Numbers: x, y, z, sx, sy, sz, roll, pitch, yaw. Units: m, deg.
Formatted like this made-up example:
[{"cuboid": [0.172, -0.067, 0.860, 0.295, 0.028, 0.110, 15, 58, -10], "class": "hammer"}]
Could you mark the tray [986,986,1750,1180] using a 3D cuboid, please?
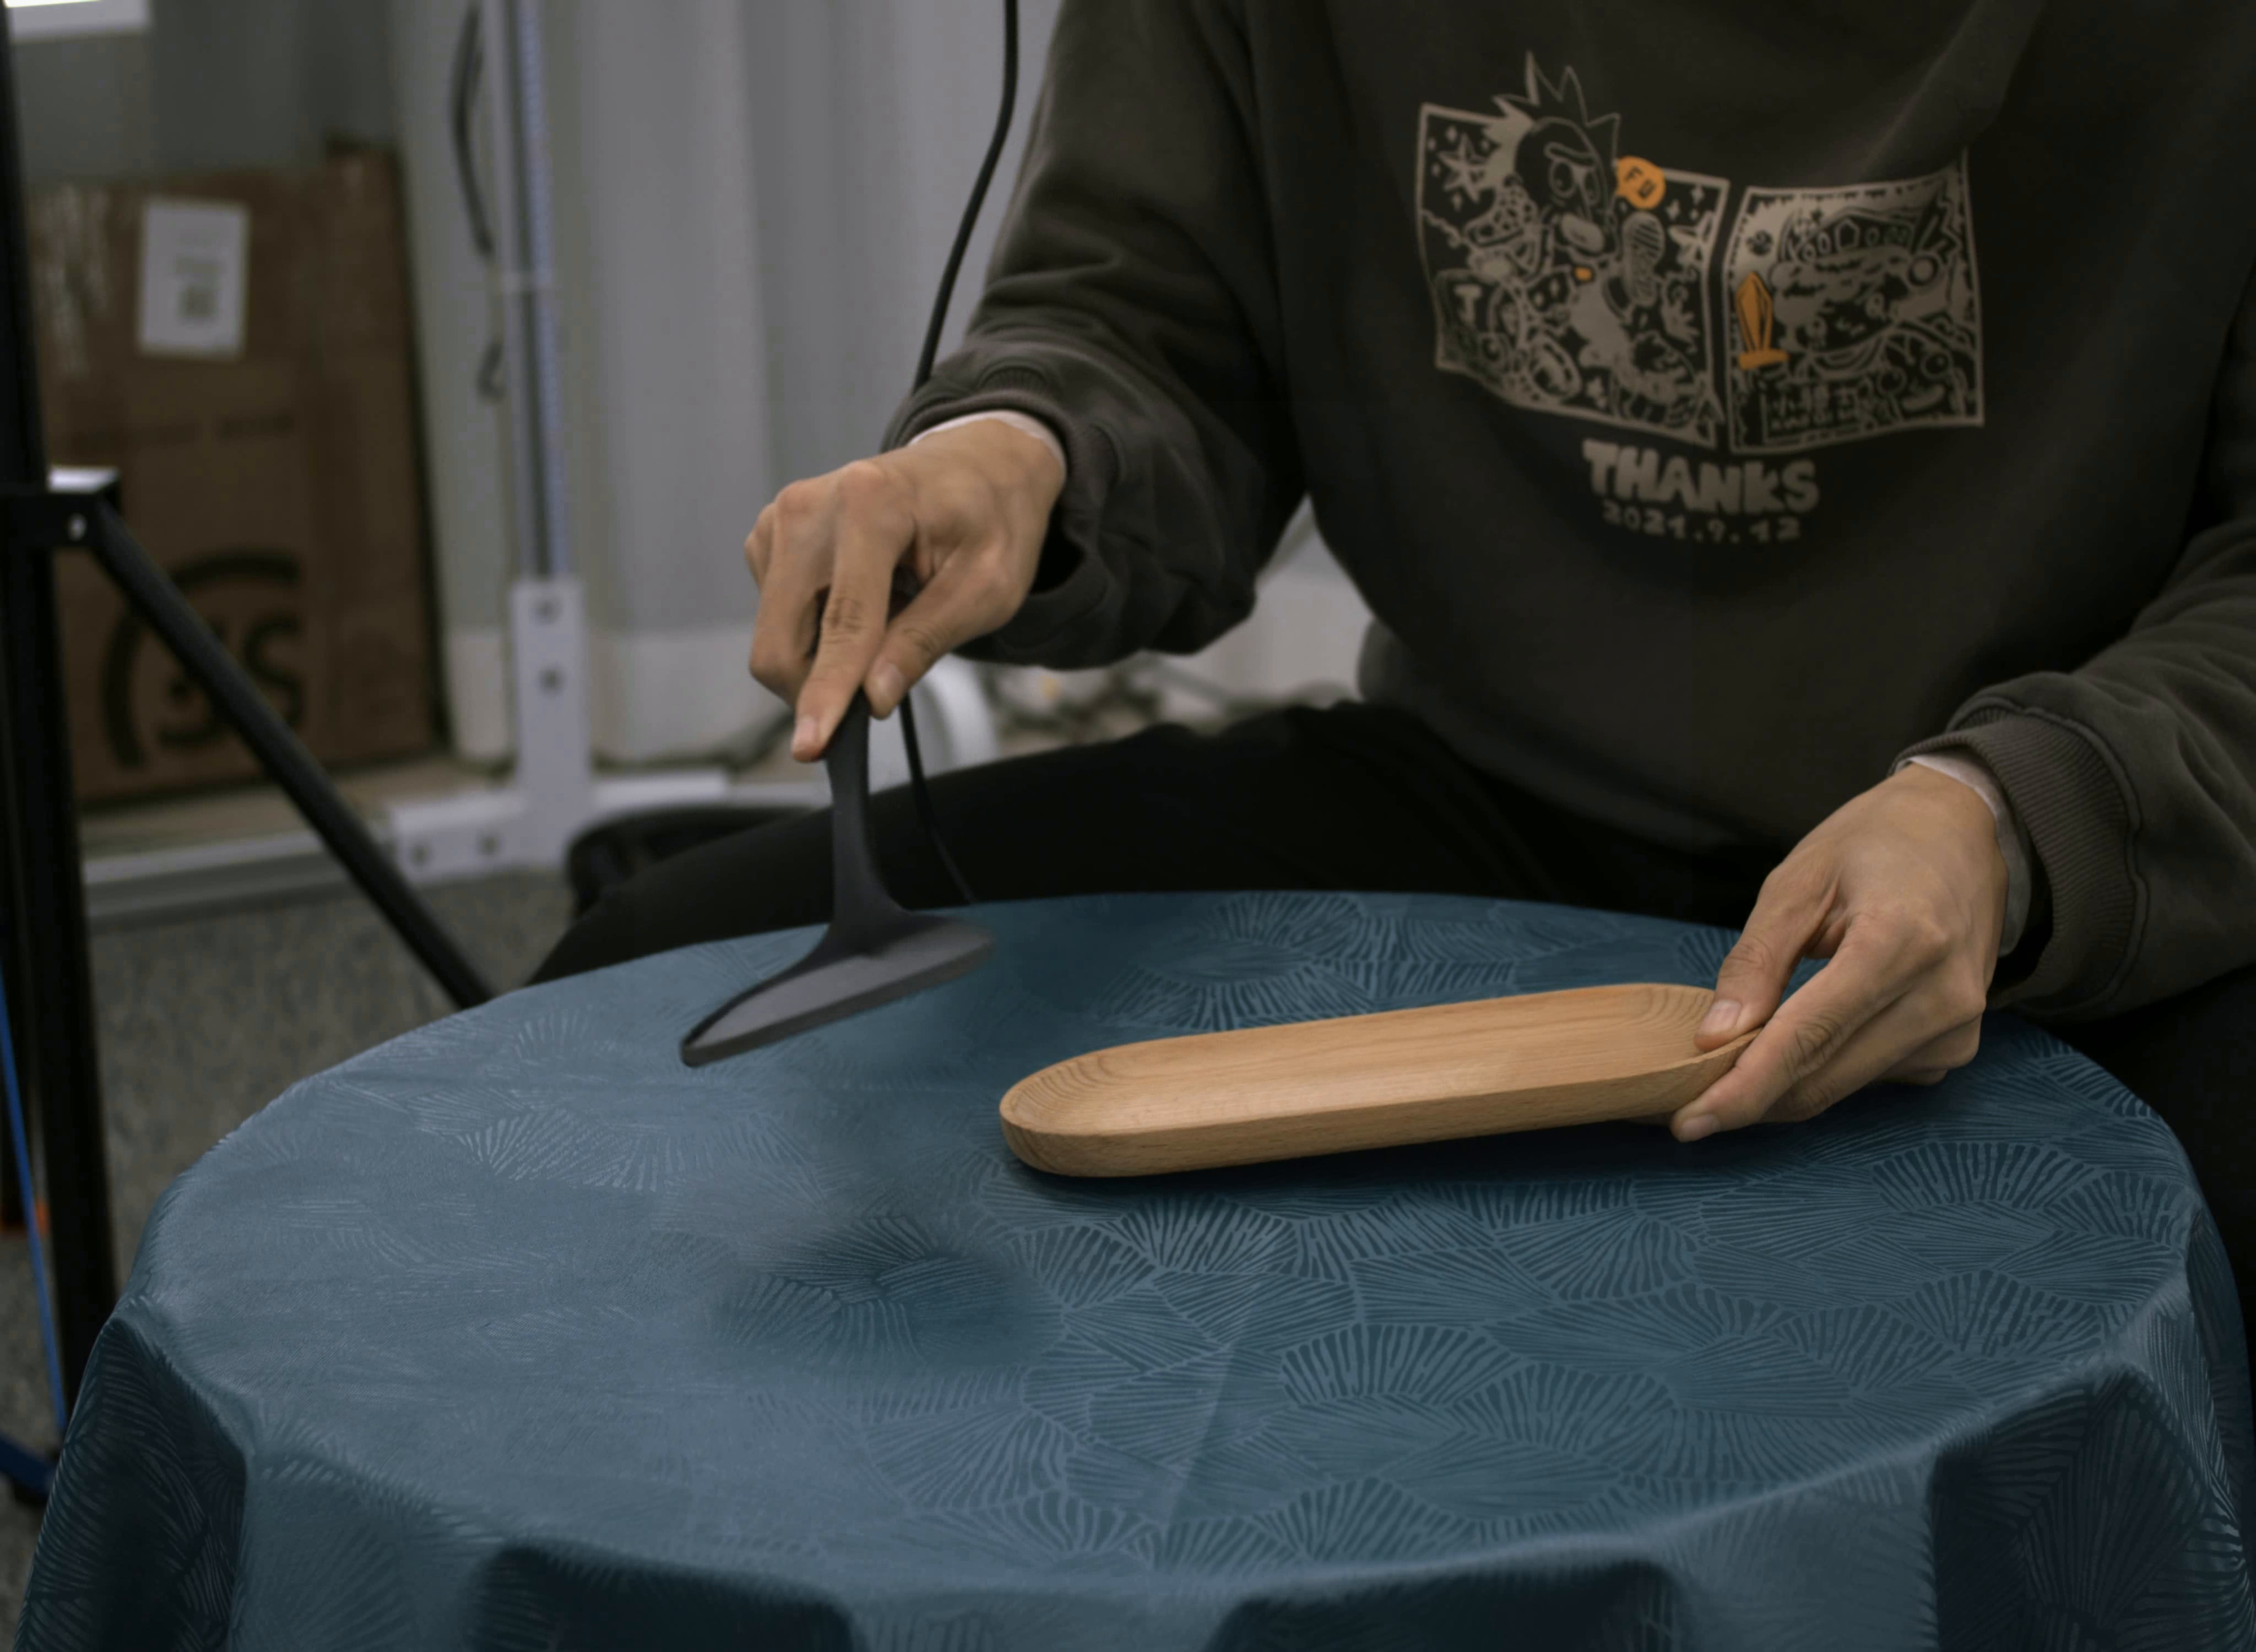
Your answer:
[{"cuboid": [0.072, 0.078, 1.595, 0.231, 0.020, 0.102, -8, 13, 4], "class": "tray"}]

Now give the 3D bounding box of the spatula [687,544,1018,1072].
[{"cuboid": [-0.085, -0.016, 1.628, 0.100, 0.040, 0.330, -19, 32, 6], "class": "spatula"}]
